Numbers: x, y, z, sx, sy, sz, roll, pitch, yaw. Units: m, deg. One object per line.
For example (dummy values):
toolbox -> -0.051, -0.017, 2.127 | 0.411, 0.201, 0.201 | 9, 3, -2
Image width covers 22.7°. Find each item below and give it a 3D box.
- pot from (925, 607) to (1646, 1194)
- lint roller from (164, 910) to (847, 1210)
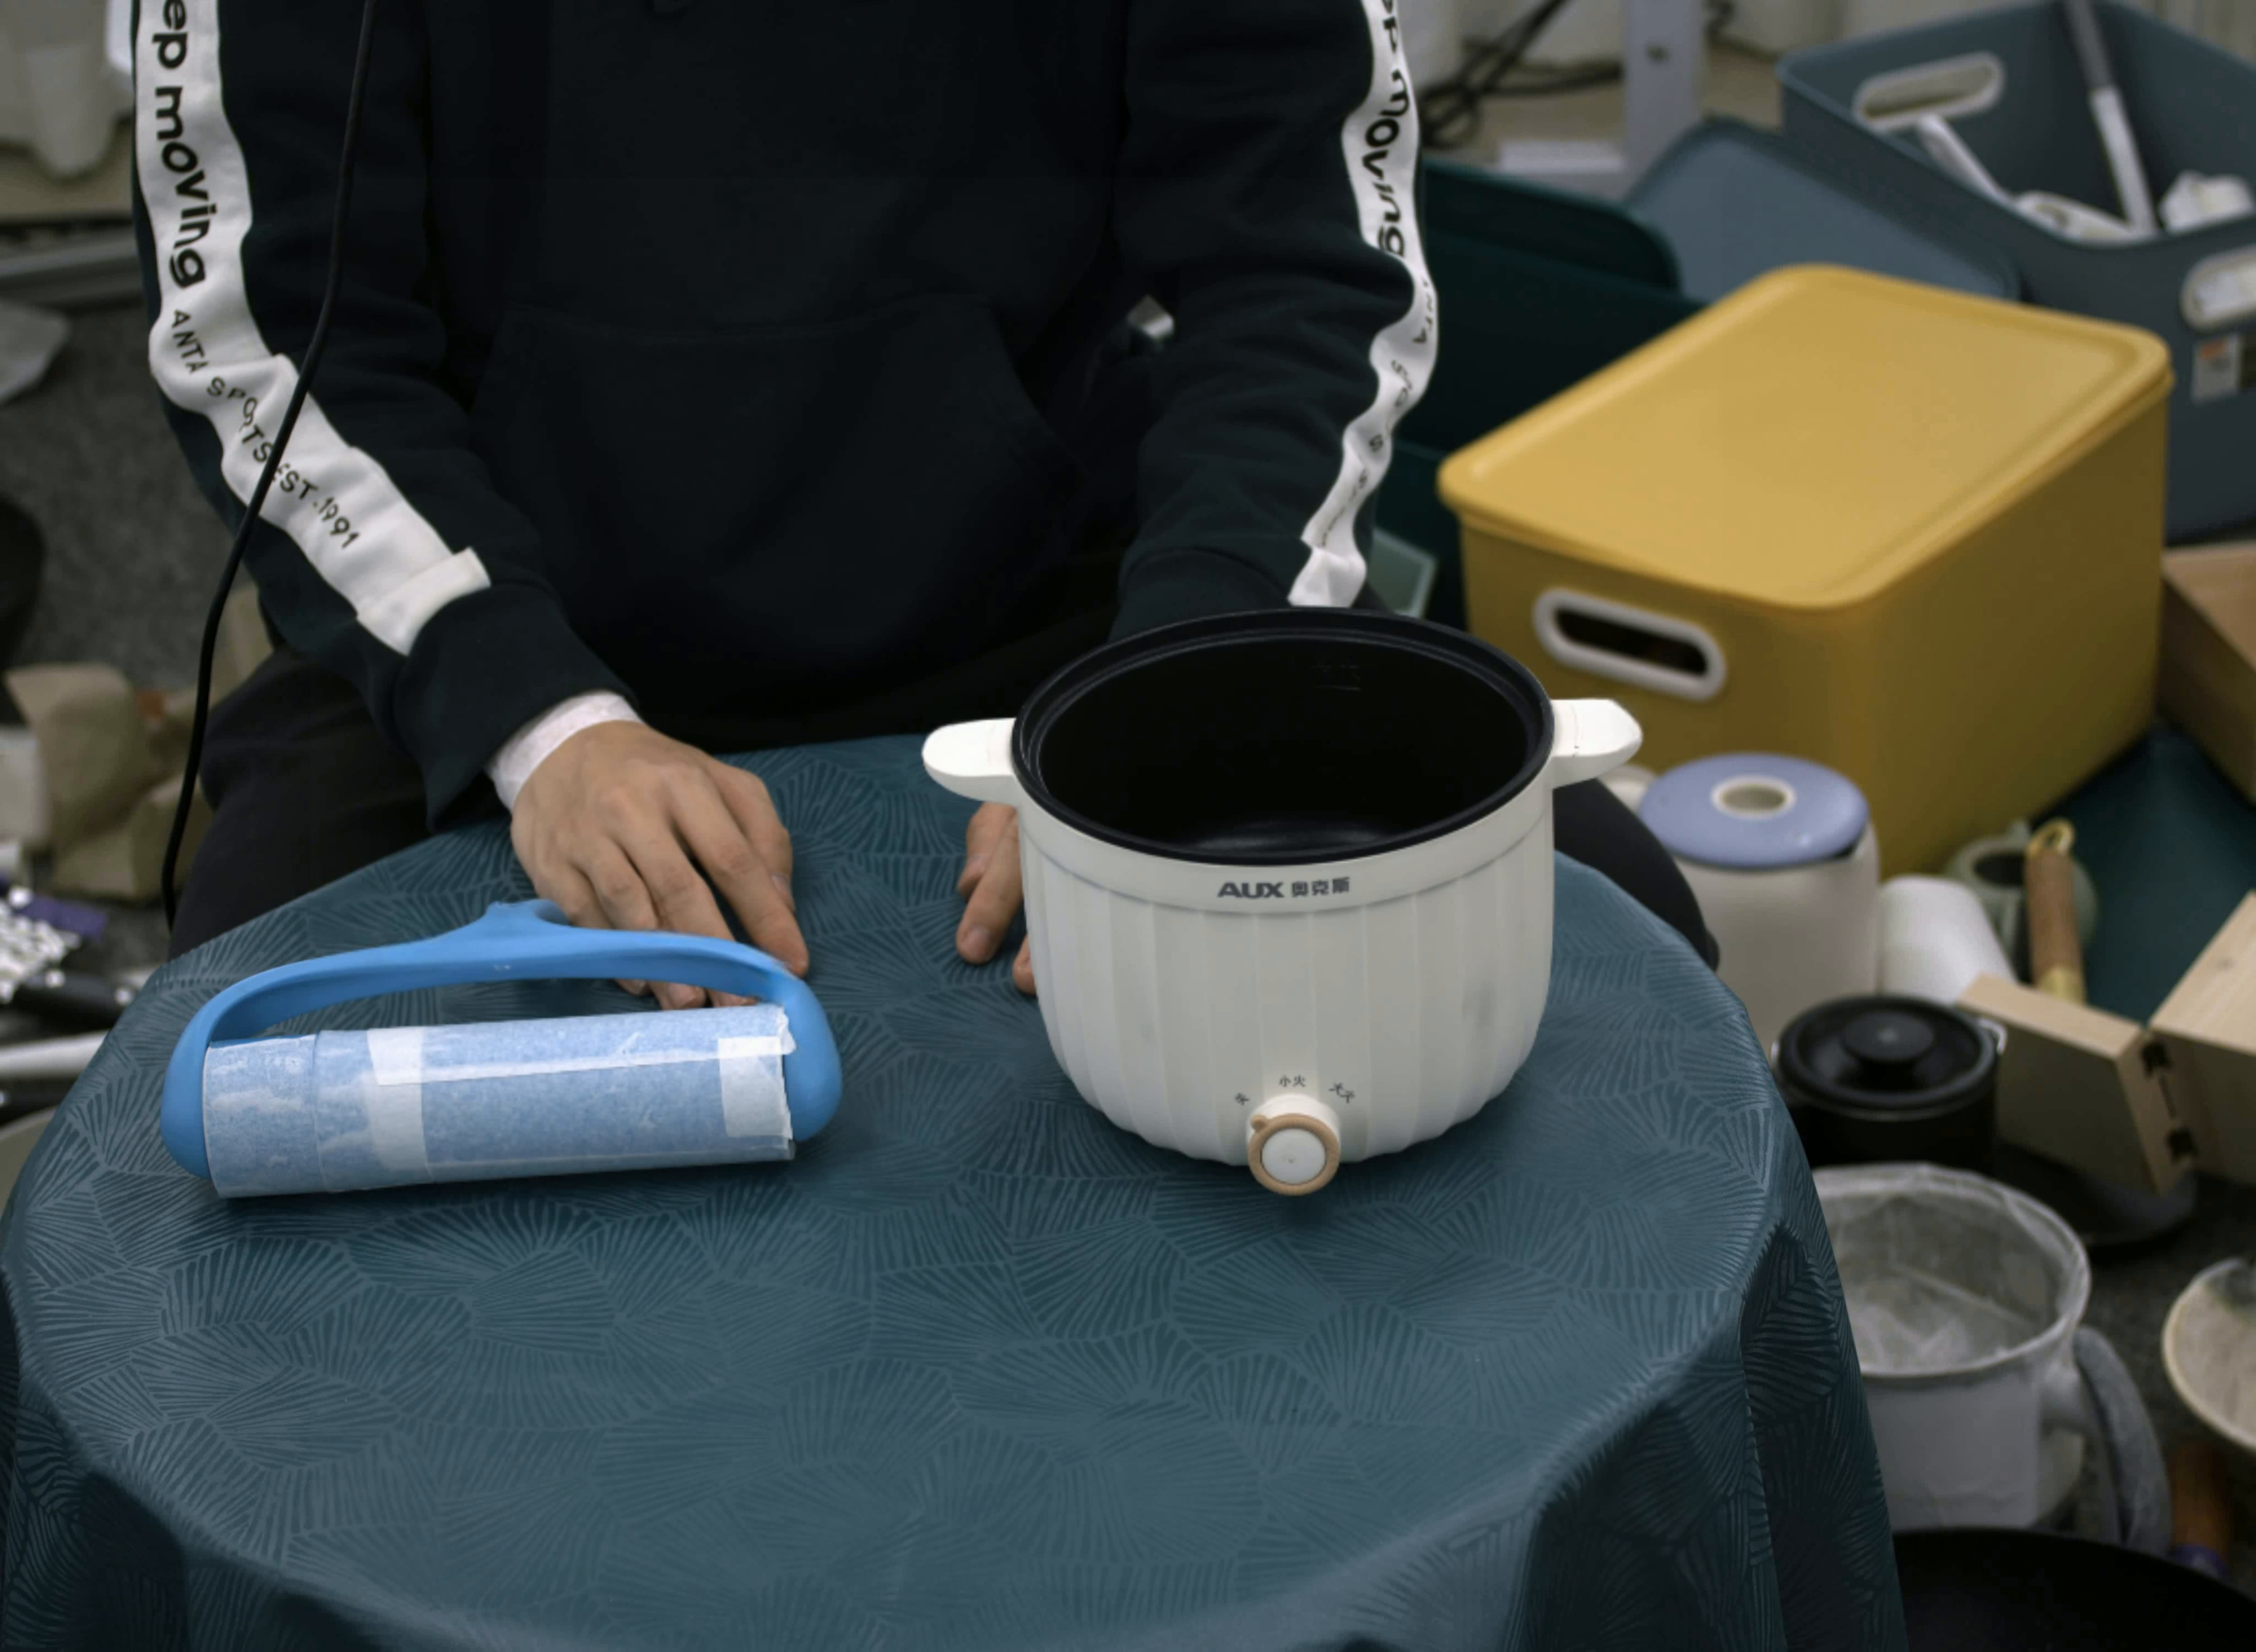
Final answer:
pot -> 0.056, 0.028, 1.887 | 0.239, 0.141, 0.193 | -3, 24, 2
lint roller -> -0.213, 0.064, 1.931 | 0.228, 0.067, 0.183 | -7, 29, -3
